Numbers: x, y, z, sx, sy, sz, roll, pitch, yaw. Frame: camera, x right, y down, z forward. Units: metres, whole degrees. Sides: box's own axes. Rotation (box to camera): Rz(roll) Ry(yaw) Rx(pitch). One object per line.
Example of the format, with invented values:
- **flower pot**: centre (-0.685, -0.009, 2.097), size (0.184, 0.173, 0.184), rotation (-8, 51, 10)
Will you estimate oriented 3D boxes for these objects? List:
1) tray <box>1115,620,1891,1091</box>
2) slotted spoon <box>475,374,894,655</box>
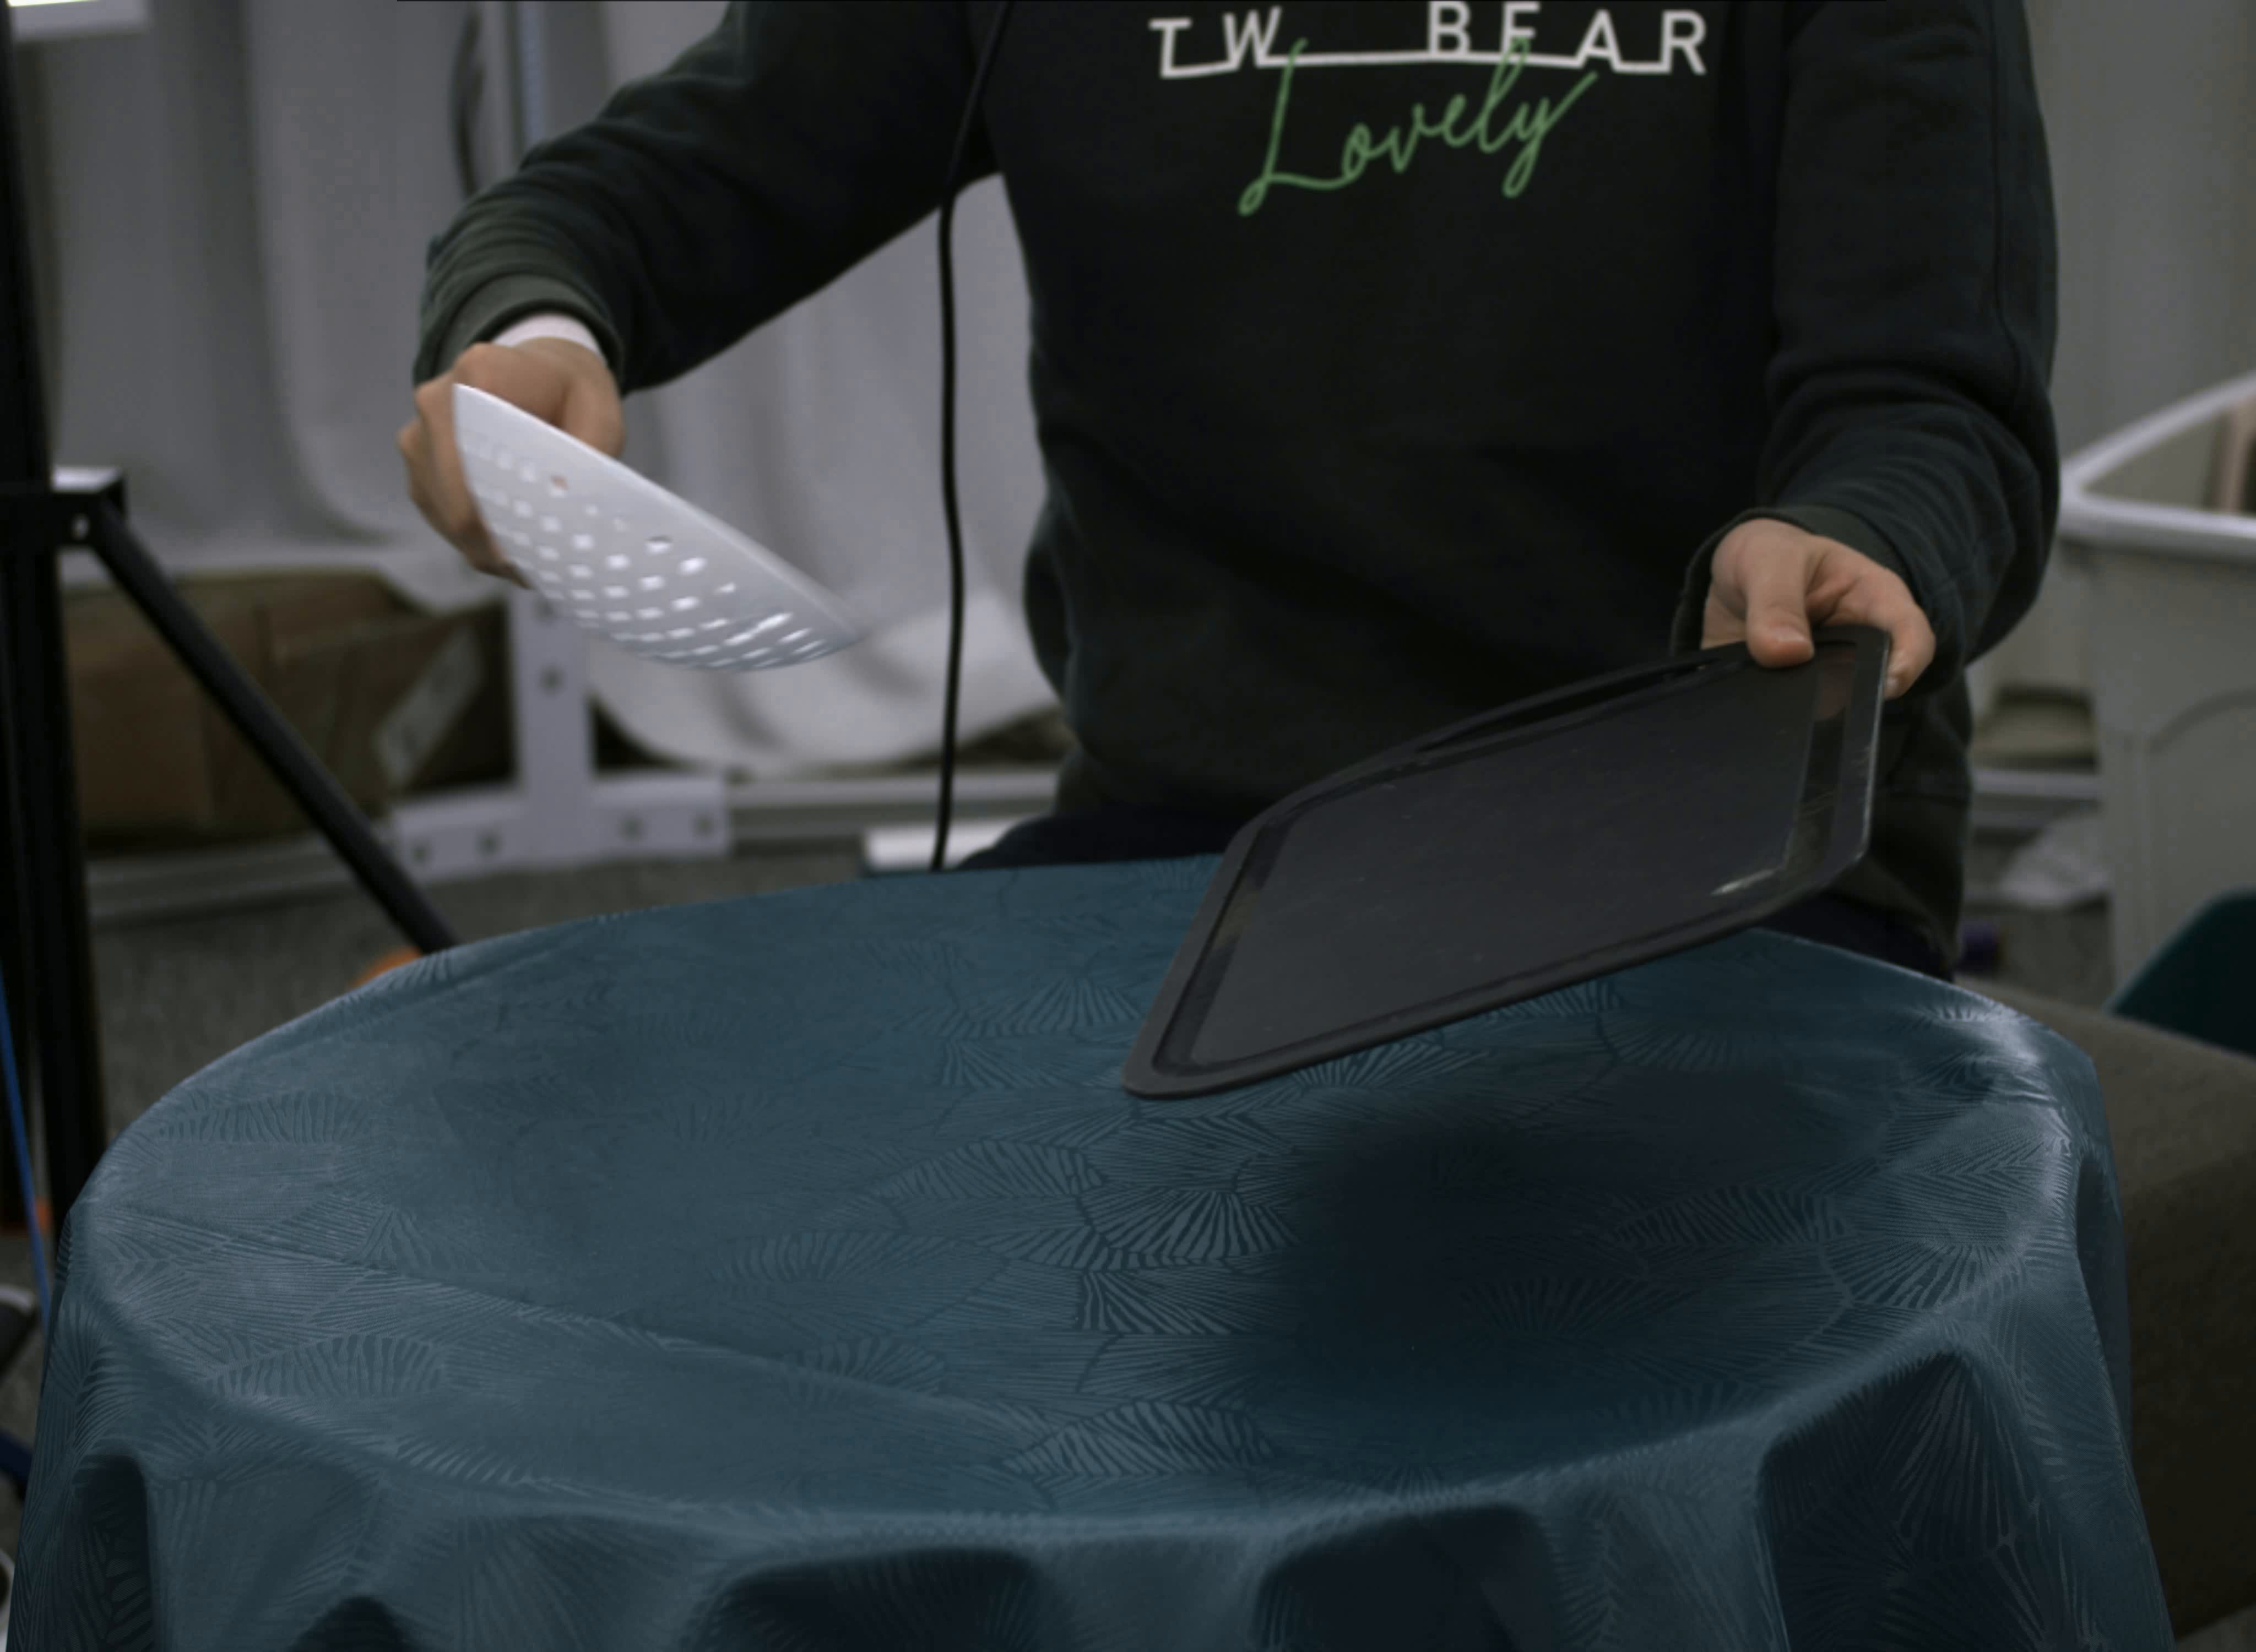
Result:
- **tray**: centre (0.112, 0.001, 1.499), size (0.212, 0.010, 0.324), rotation (-17, 13, 15)
- **slotted spoon**: centre (-0.157, -0.093, 1.626), size (0.134, 0.046, 0.353), rotation (30, 0, -14)
